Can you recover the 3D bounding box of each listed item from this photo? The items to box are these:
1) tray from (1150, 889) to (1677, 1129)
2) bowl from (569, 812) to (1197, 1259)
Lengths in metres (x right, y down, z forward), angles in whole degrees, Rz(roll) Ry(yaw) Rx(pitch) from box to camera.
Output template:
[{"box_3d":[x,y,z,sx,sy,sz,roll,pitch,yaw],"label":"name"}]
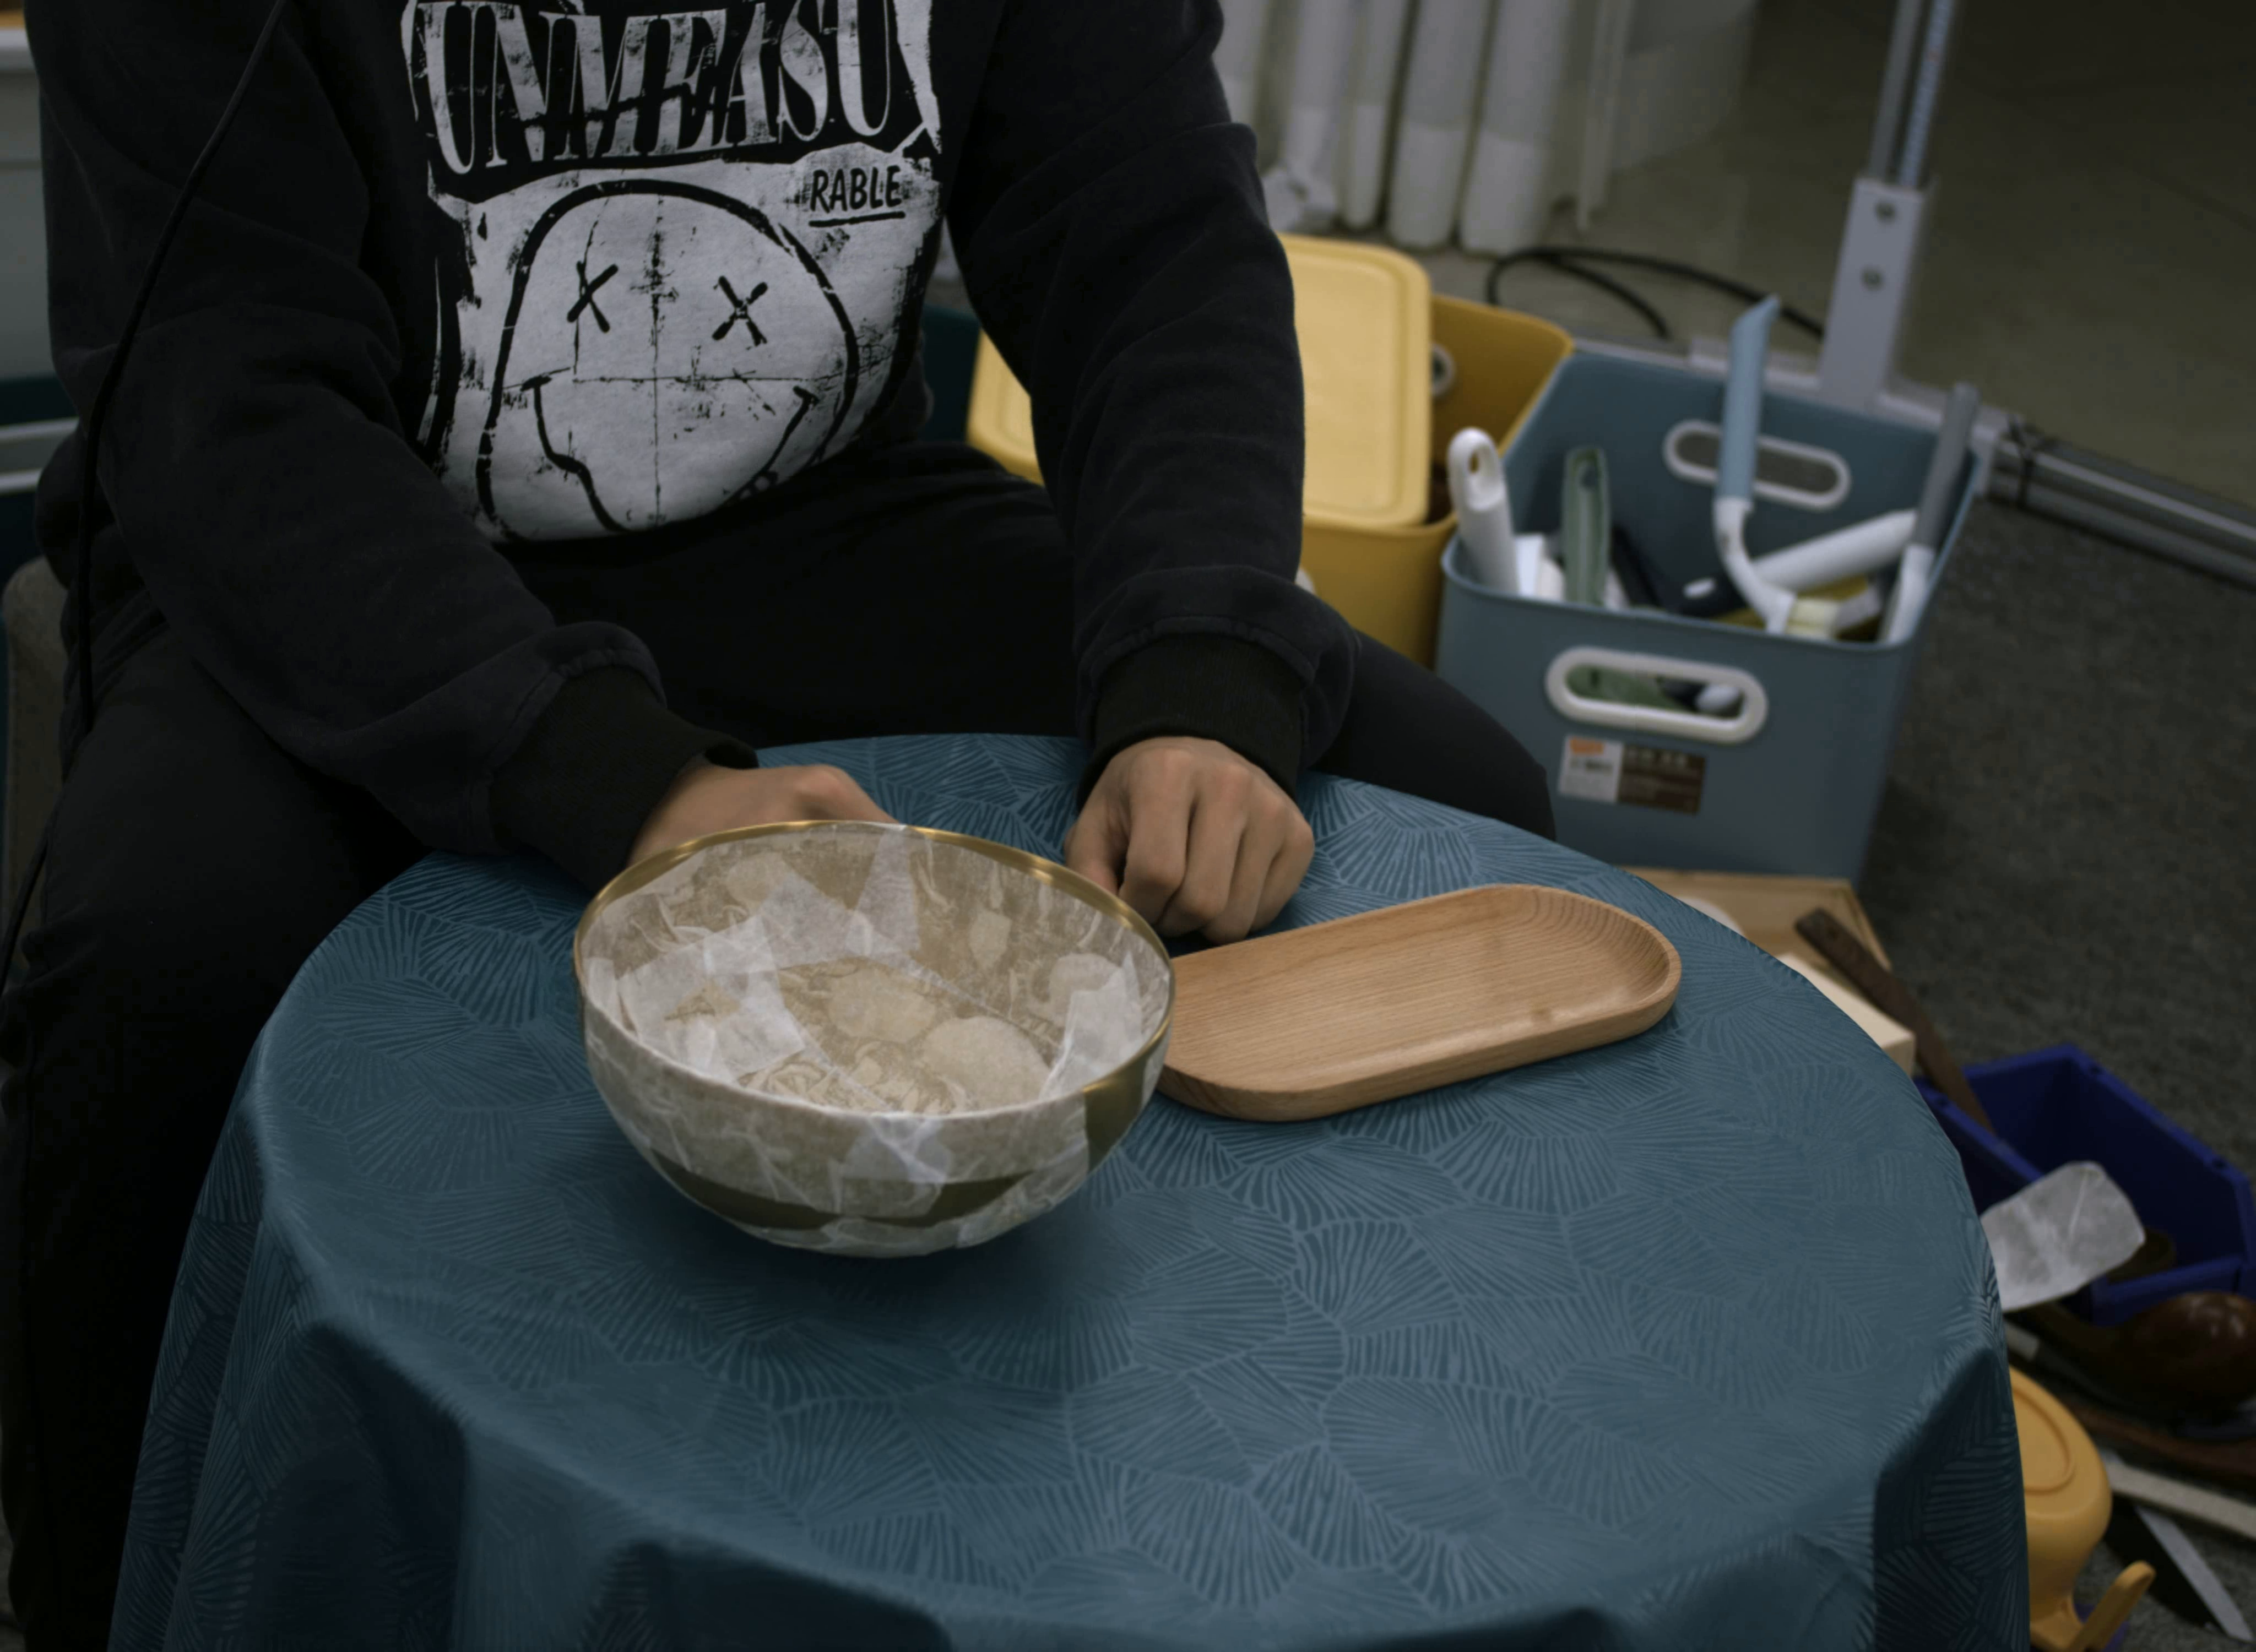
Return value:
[{"box_3d":[0.097,0.066,1.920,0.230,0.020,0.102,-14,31,-32],"label":"tray"},{"box_3d":[-0.084,0.081,1.763,0.214,0.094,0.216,4,27,-2],"label":"bowl"}]
